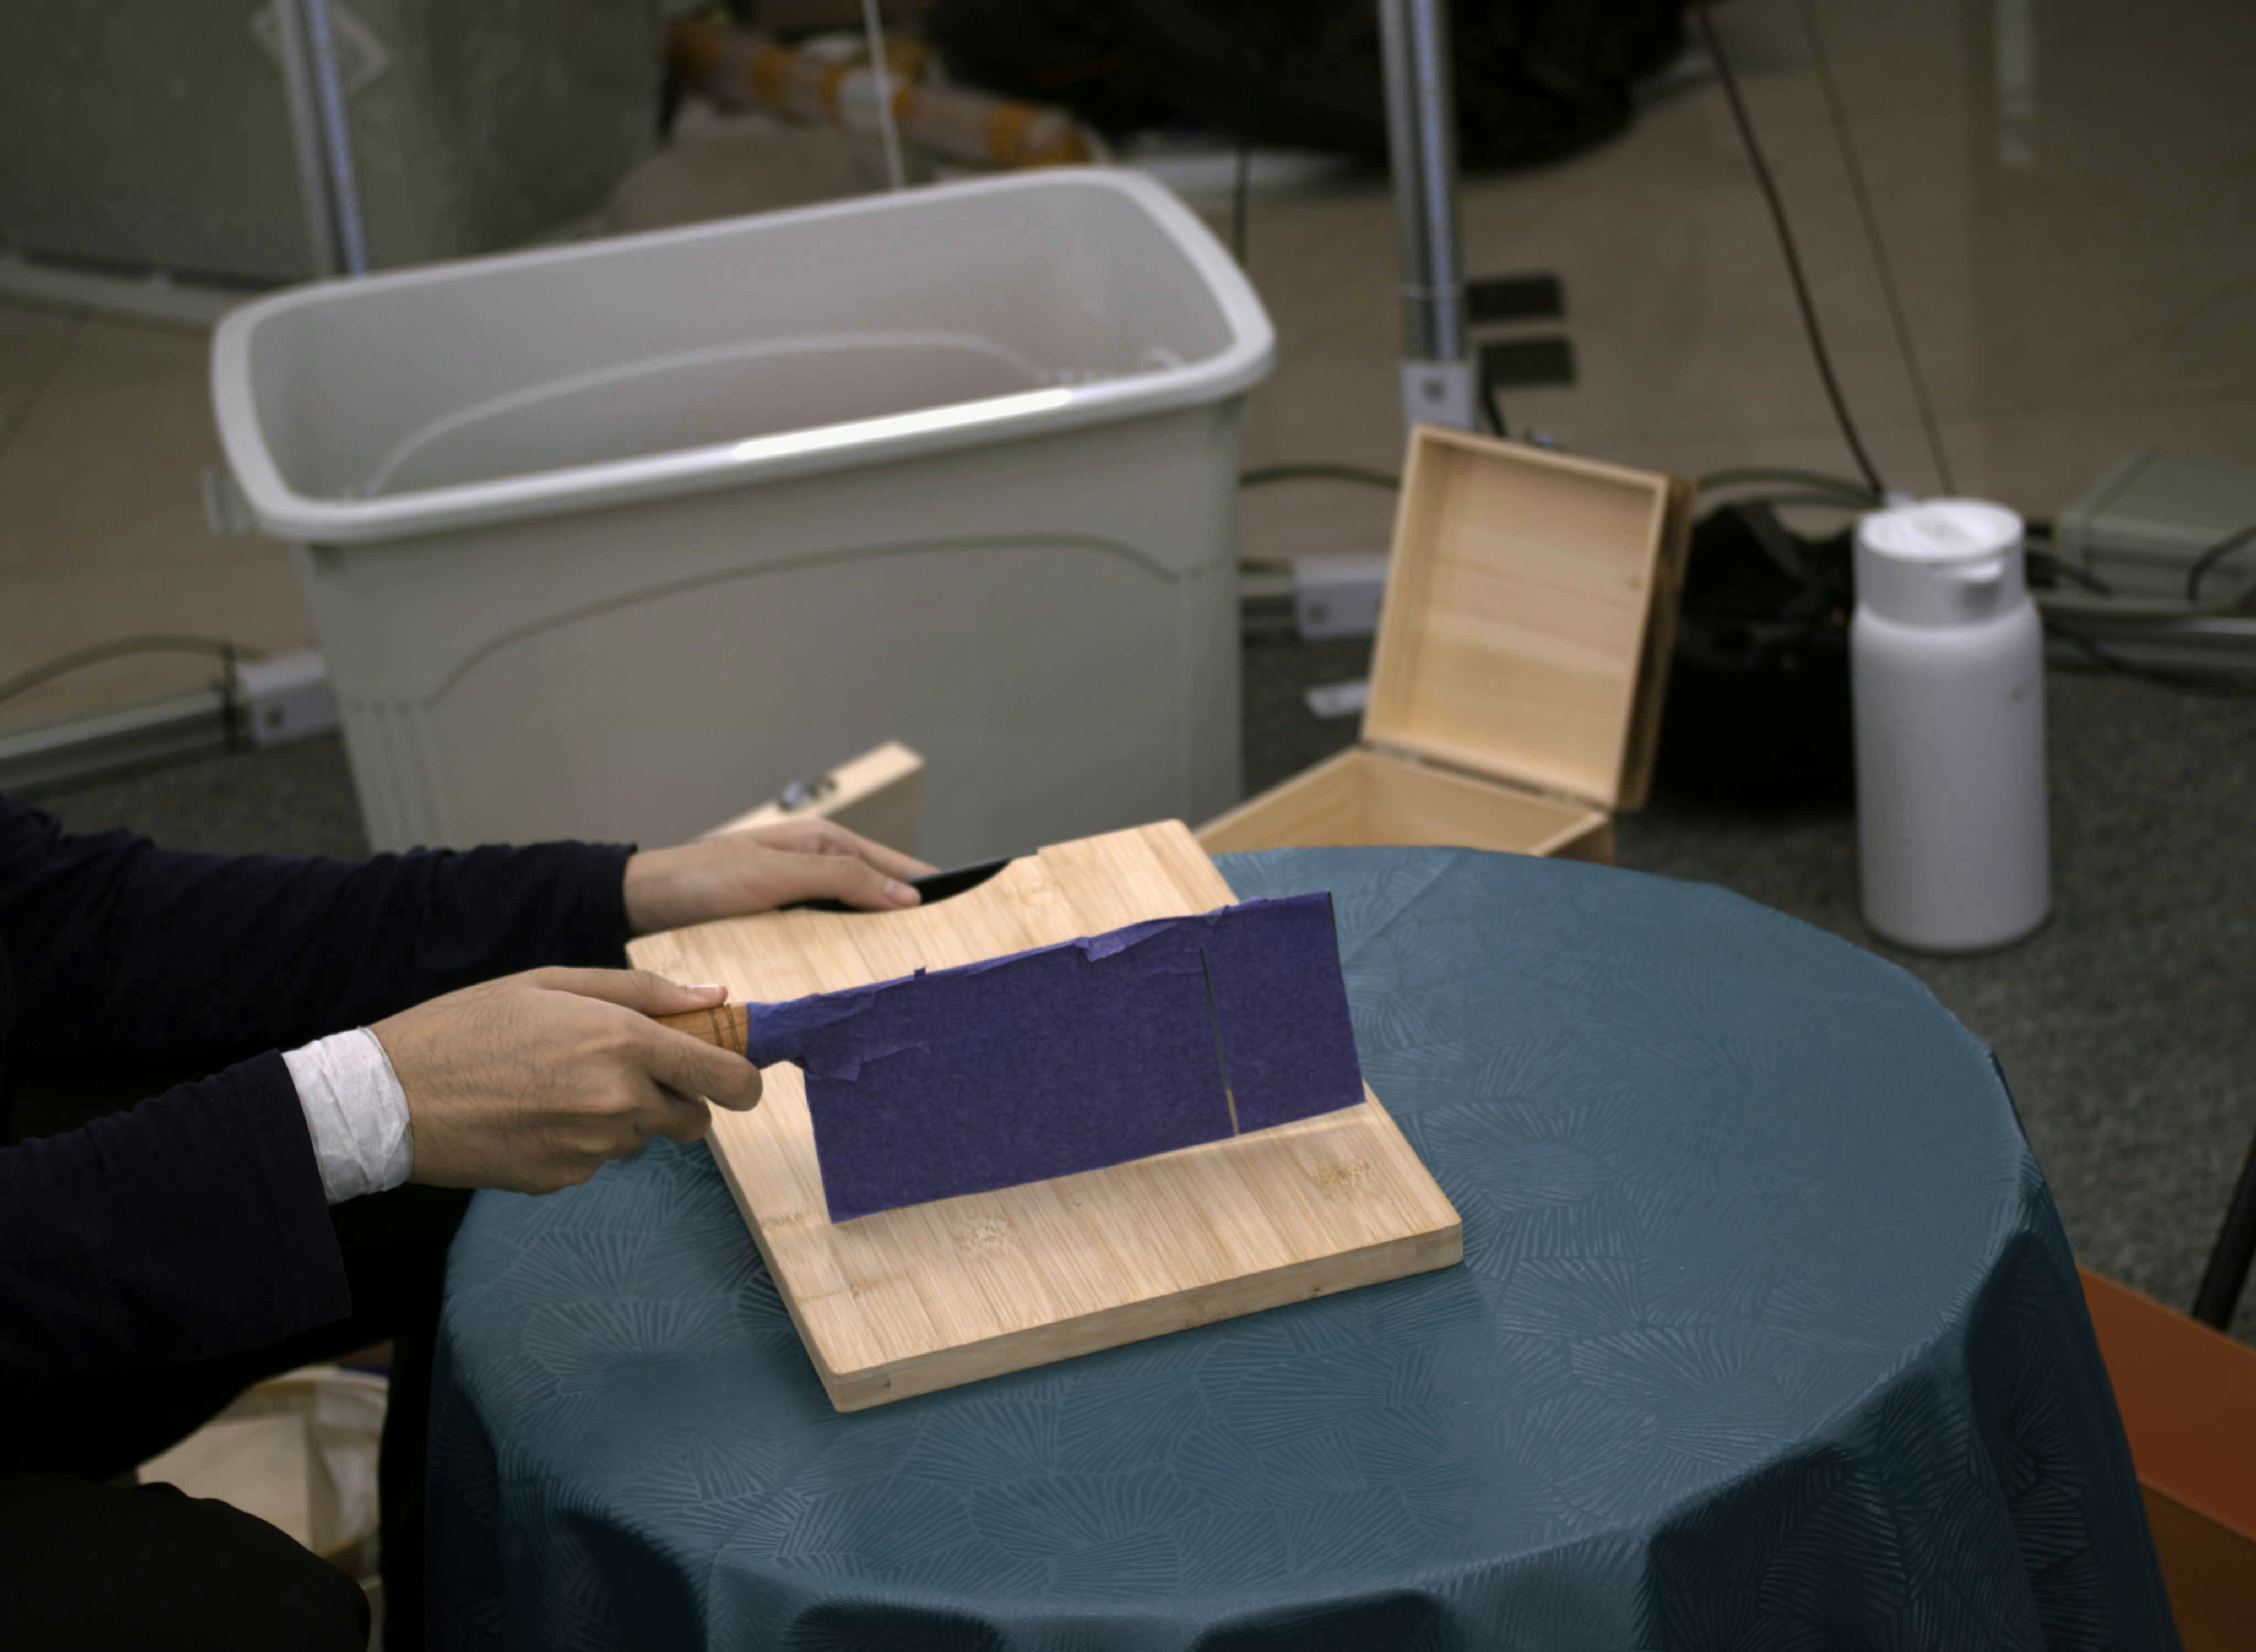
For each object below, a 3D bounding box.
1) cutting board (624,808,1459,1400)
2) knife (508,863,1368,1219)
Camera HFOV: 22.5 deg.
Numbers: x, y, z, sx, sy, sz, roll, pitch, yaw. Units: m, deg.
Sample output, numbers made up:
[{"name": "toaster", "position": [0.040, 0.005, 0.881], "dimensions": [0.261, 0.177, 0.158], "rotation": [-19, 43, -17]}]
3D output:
[{"name": "cutting board", "position": [-0.042, 0.101, 2.192], "dimensions": [0.250, 0.024, 0.343], "rotation": [-13, 30, -13]}, {"name": "knife", "position": [-0.066, 0.095, 2.088], "dimensions": [0.314, 0.105, 0.032], "rotation": [-12, 20, -5]}]
